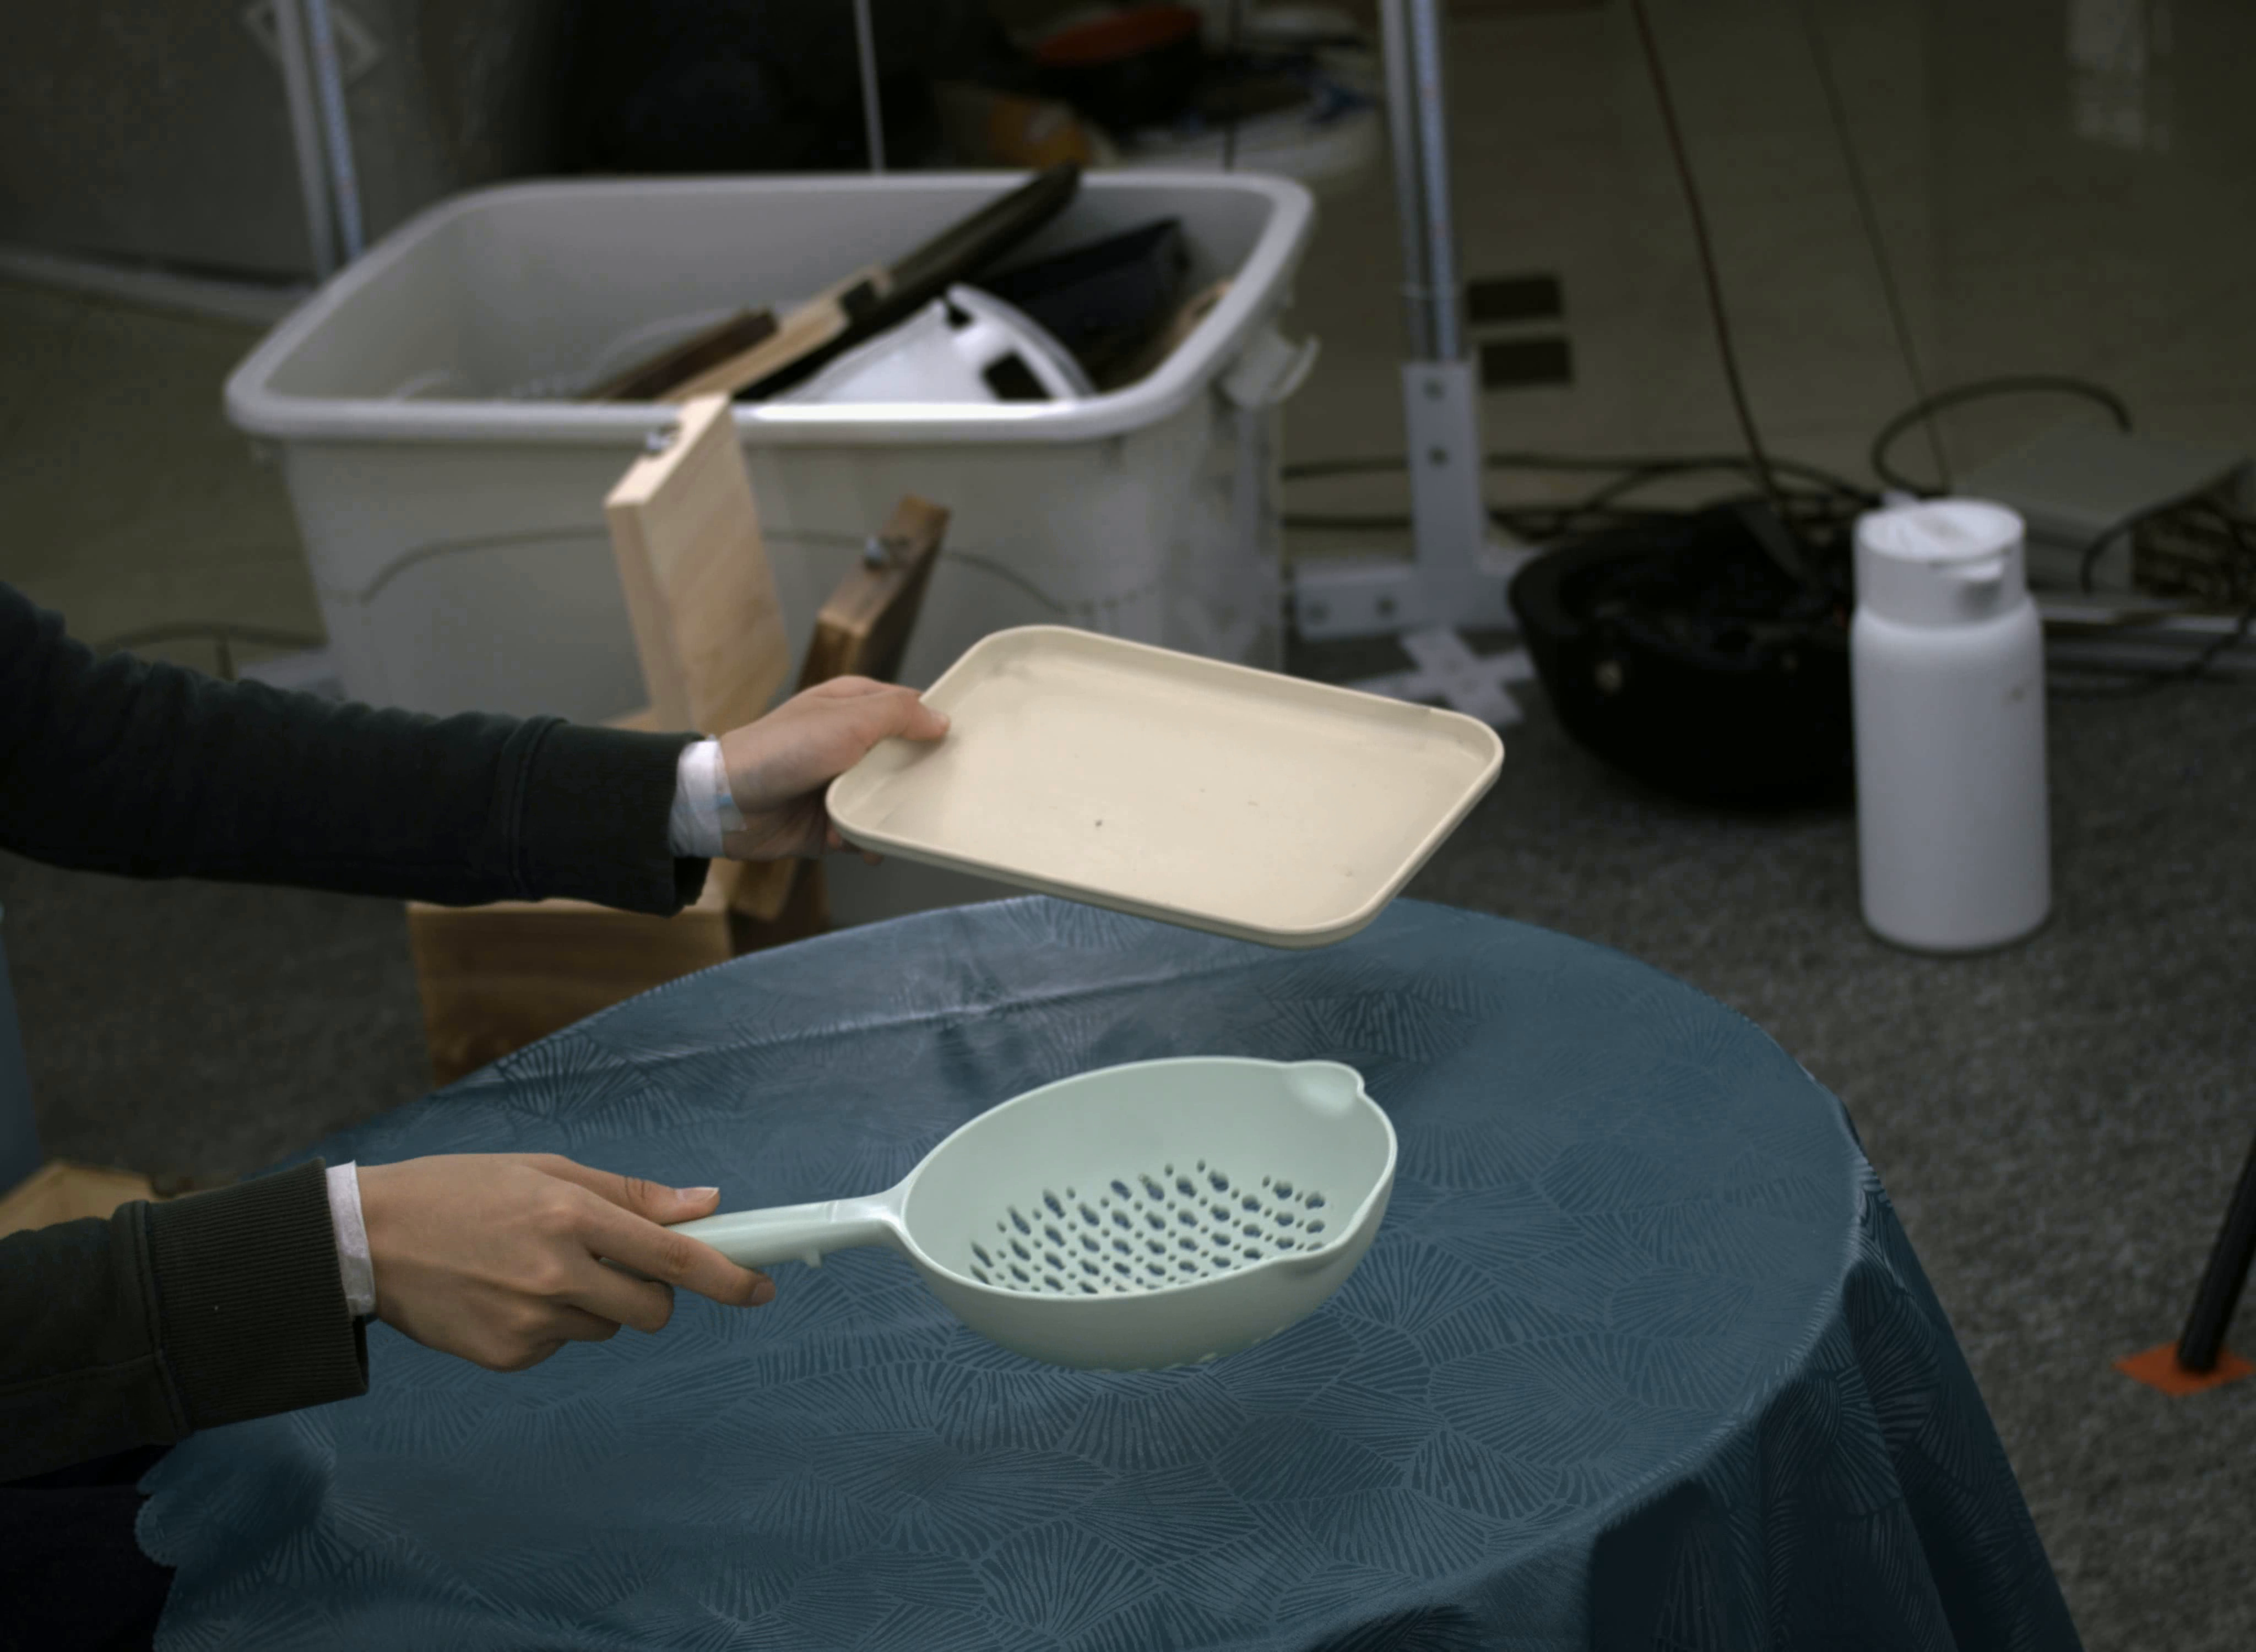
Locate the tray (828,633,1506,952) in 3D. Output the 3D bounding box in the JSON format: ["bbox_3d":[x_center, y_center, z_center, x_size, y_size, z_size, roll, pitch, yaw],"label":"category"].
[{"bbox_3d":[0.016,-0.014,2.225,0.238,0.018,0.169,12,37,26],"label":"tray"}]

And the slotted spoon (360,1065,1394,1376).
[{"bbox_3d":[-0.088,0.143,1.937,0.358,0.076,0.167,0,22,4],"label":"slotted spoon"}]
